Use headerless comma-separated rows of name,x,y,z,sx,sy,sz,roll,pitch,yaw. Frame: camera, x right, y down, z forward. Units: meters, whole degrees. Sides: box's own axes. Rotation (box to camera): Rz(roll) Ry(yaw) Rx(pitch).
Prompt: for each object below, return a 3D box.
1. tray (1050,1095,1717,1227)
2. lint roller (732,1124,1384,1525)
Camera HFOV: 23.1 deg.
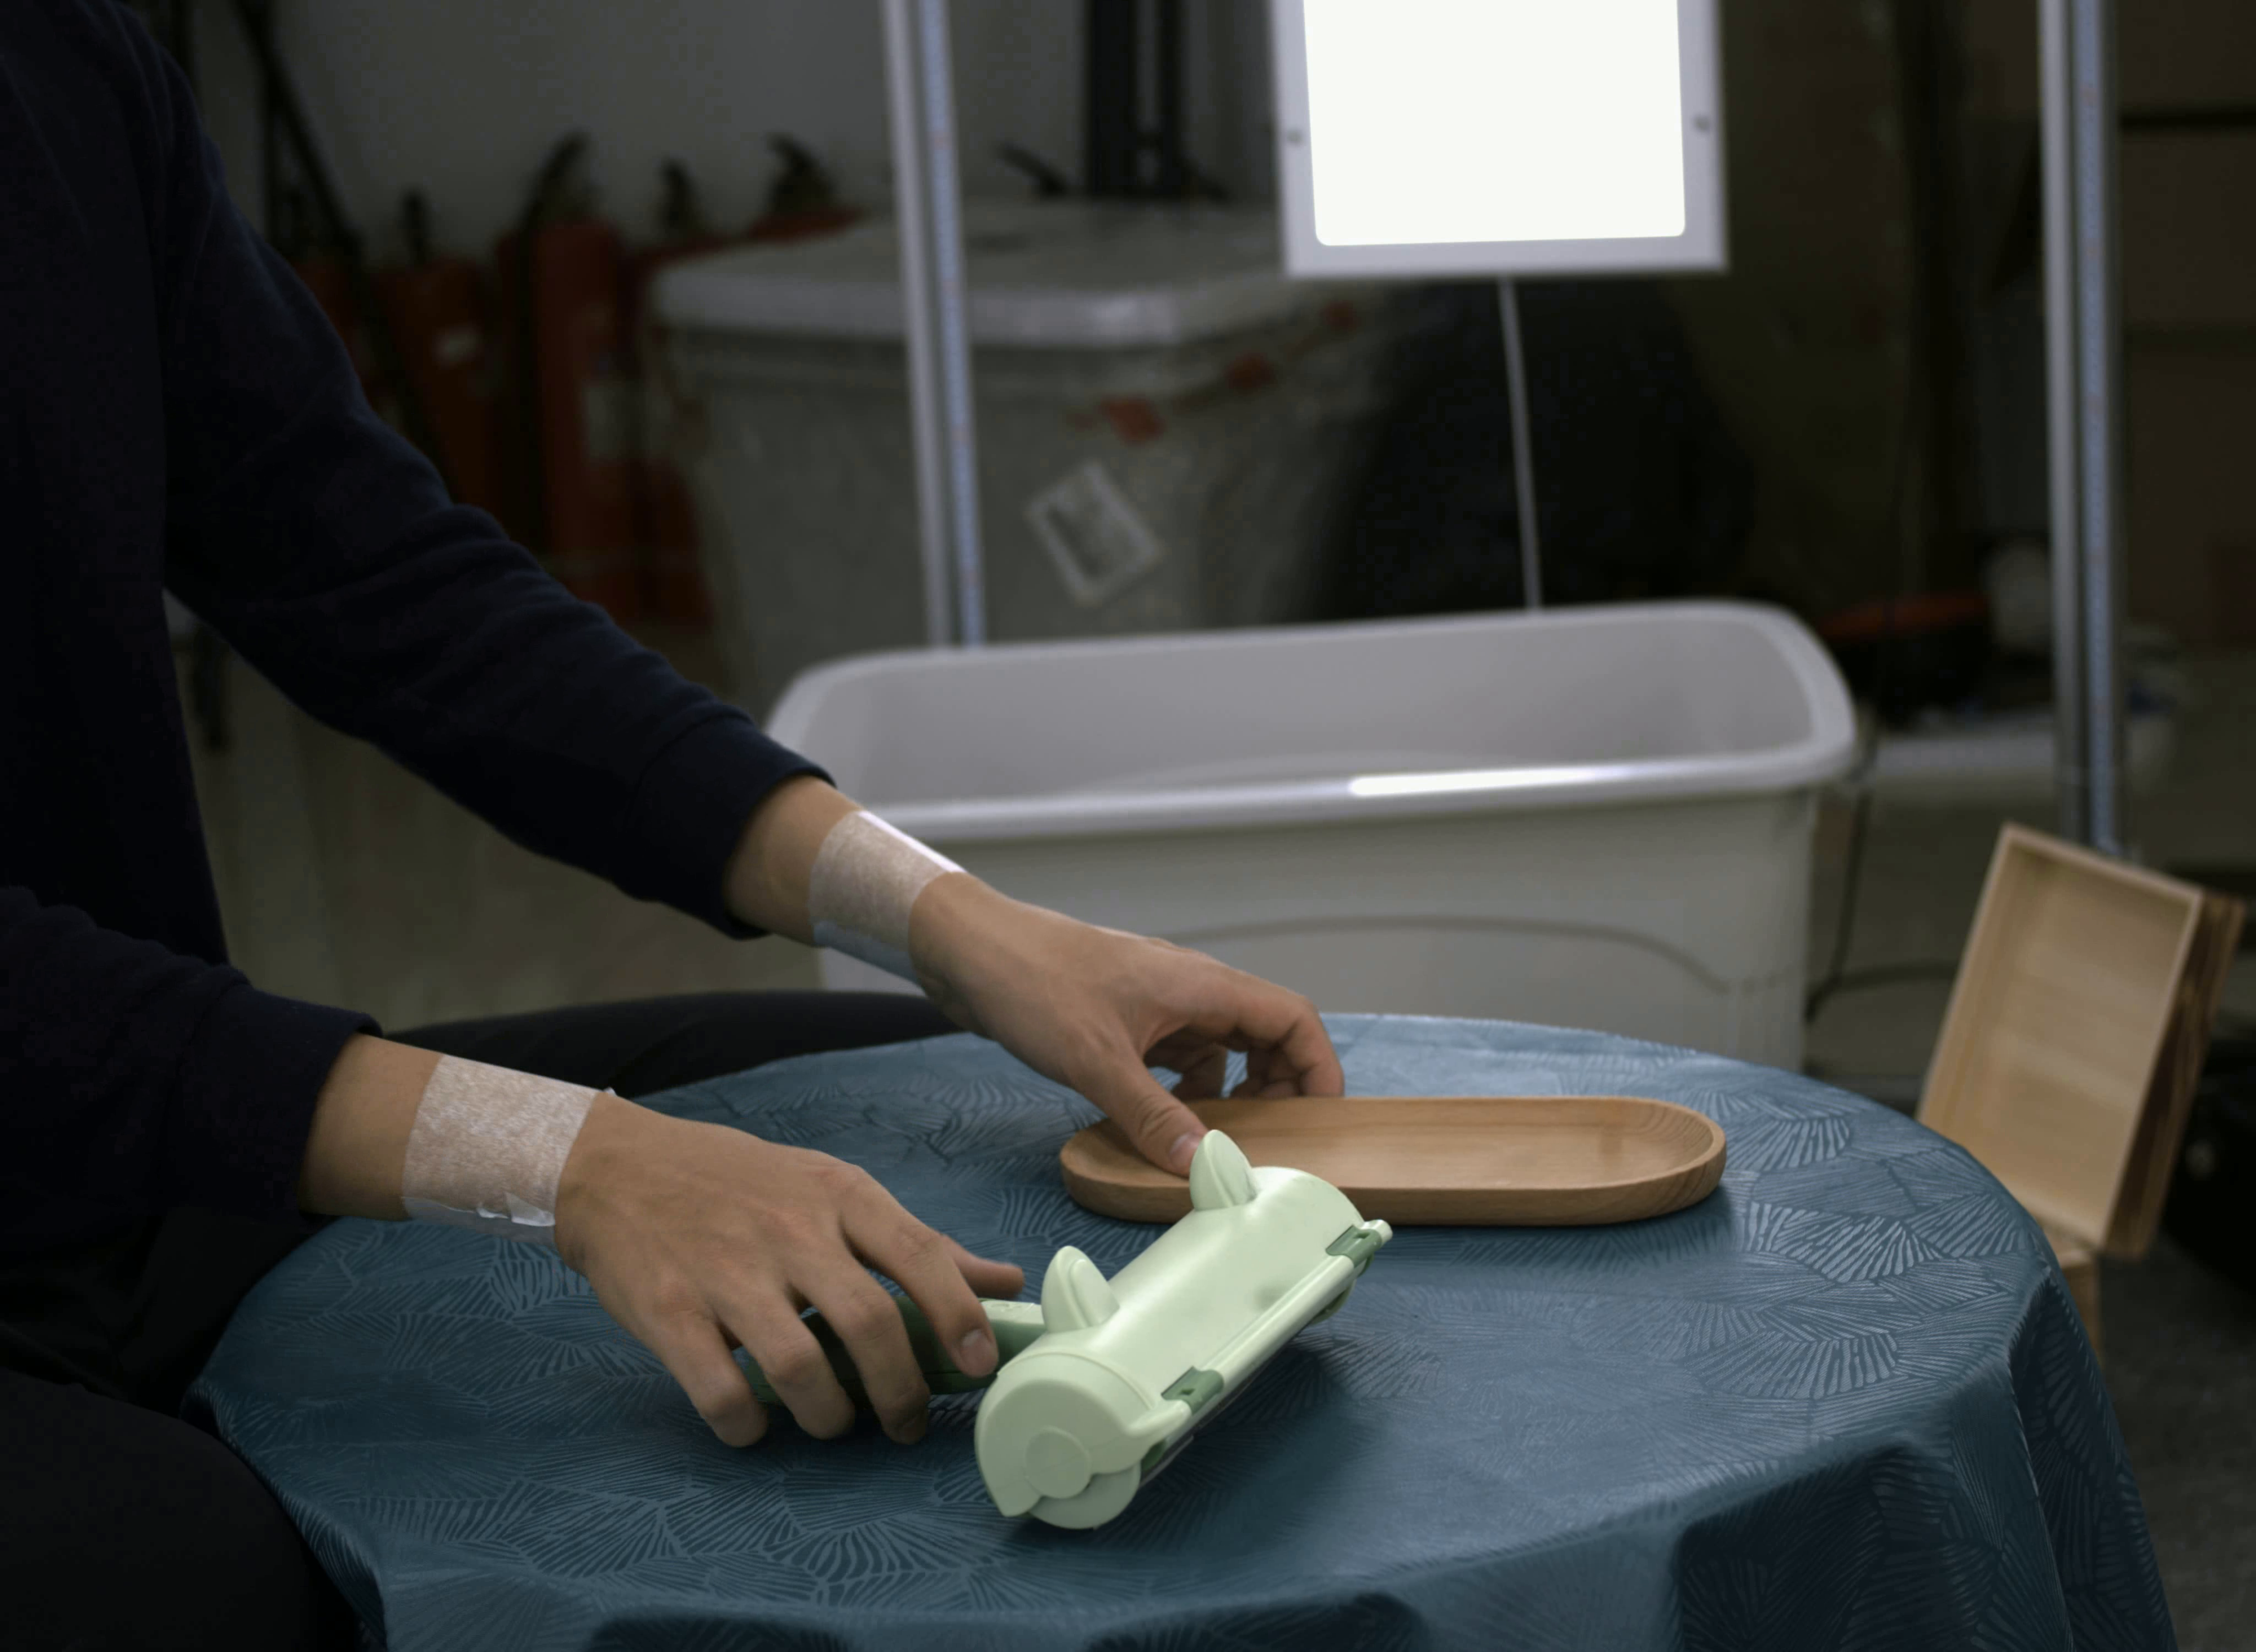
tray,0.087,0.115,1.878,0.233,0.020,0.100,-3,14,17
lint roller,-0.037,0.140,1.673,0.186,0.082,0.195,7,16,22
